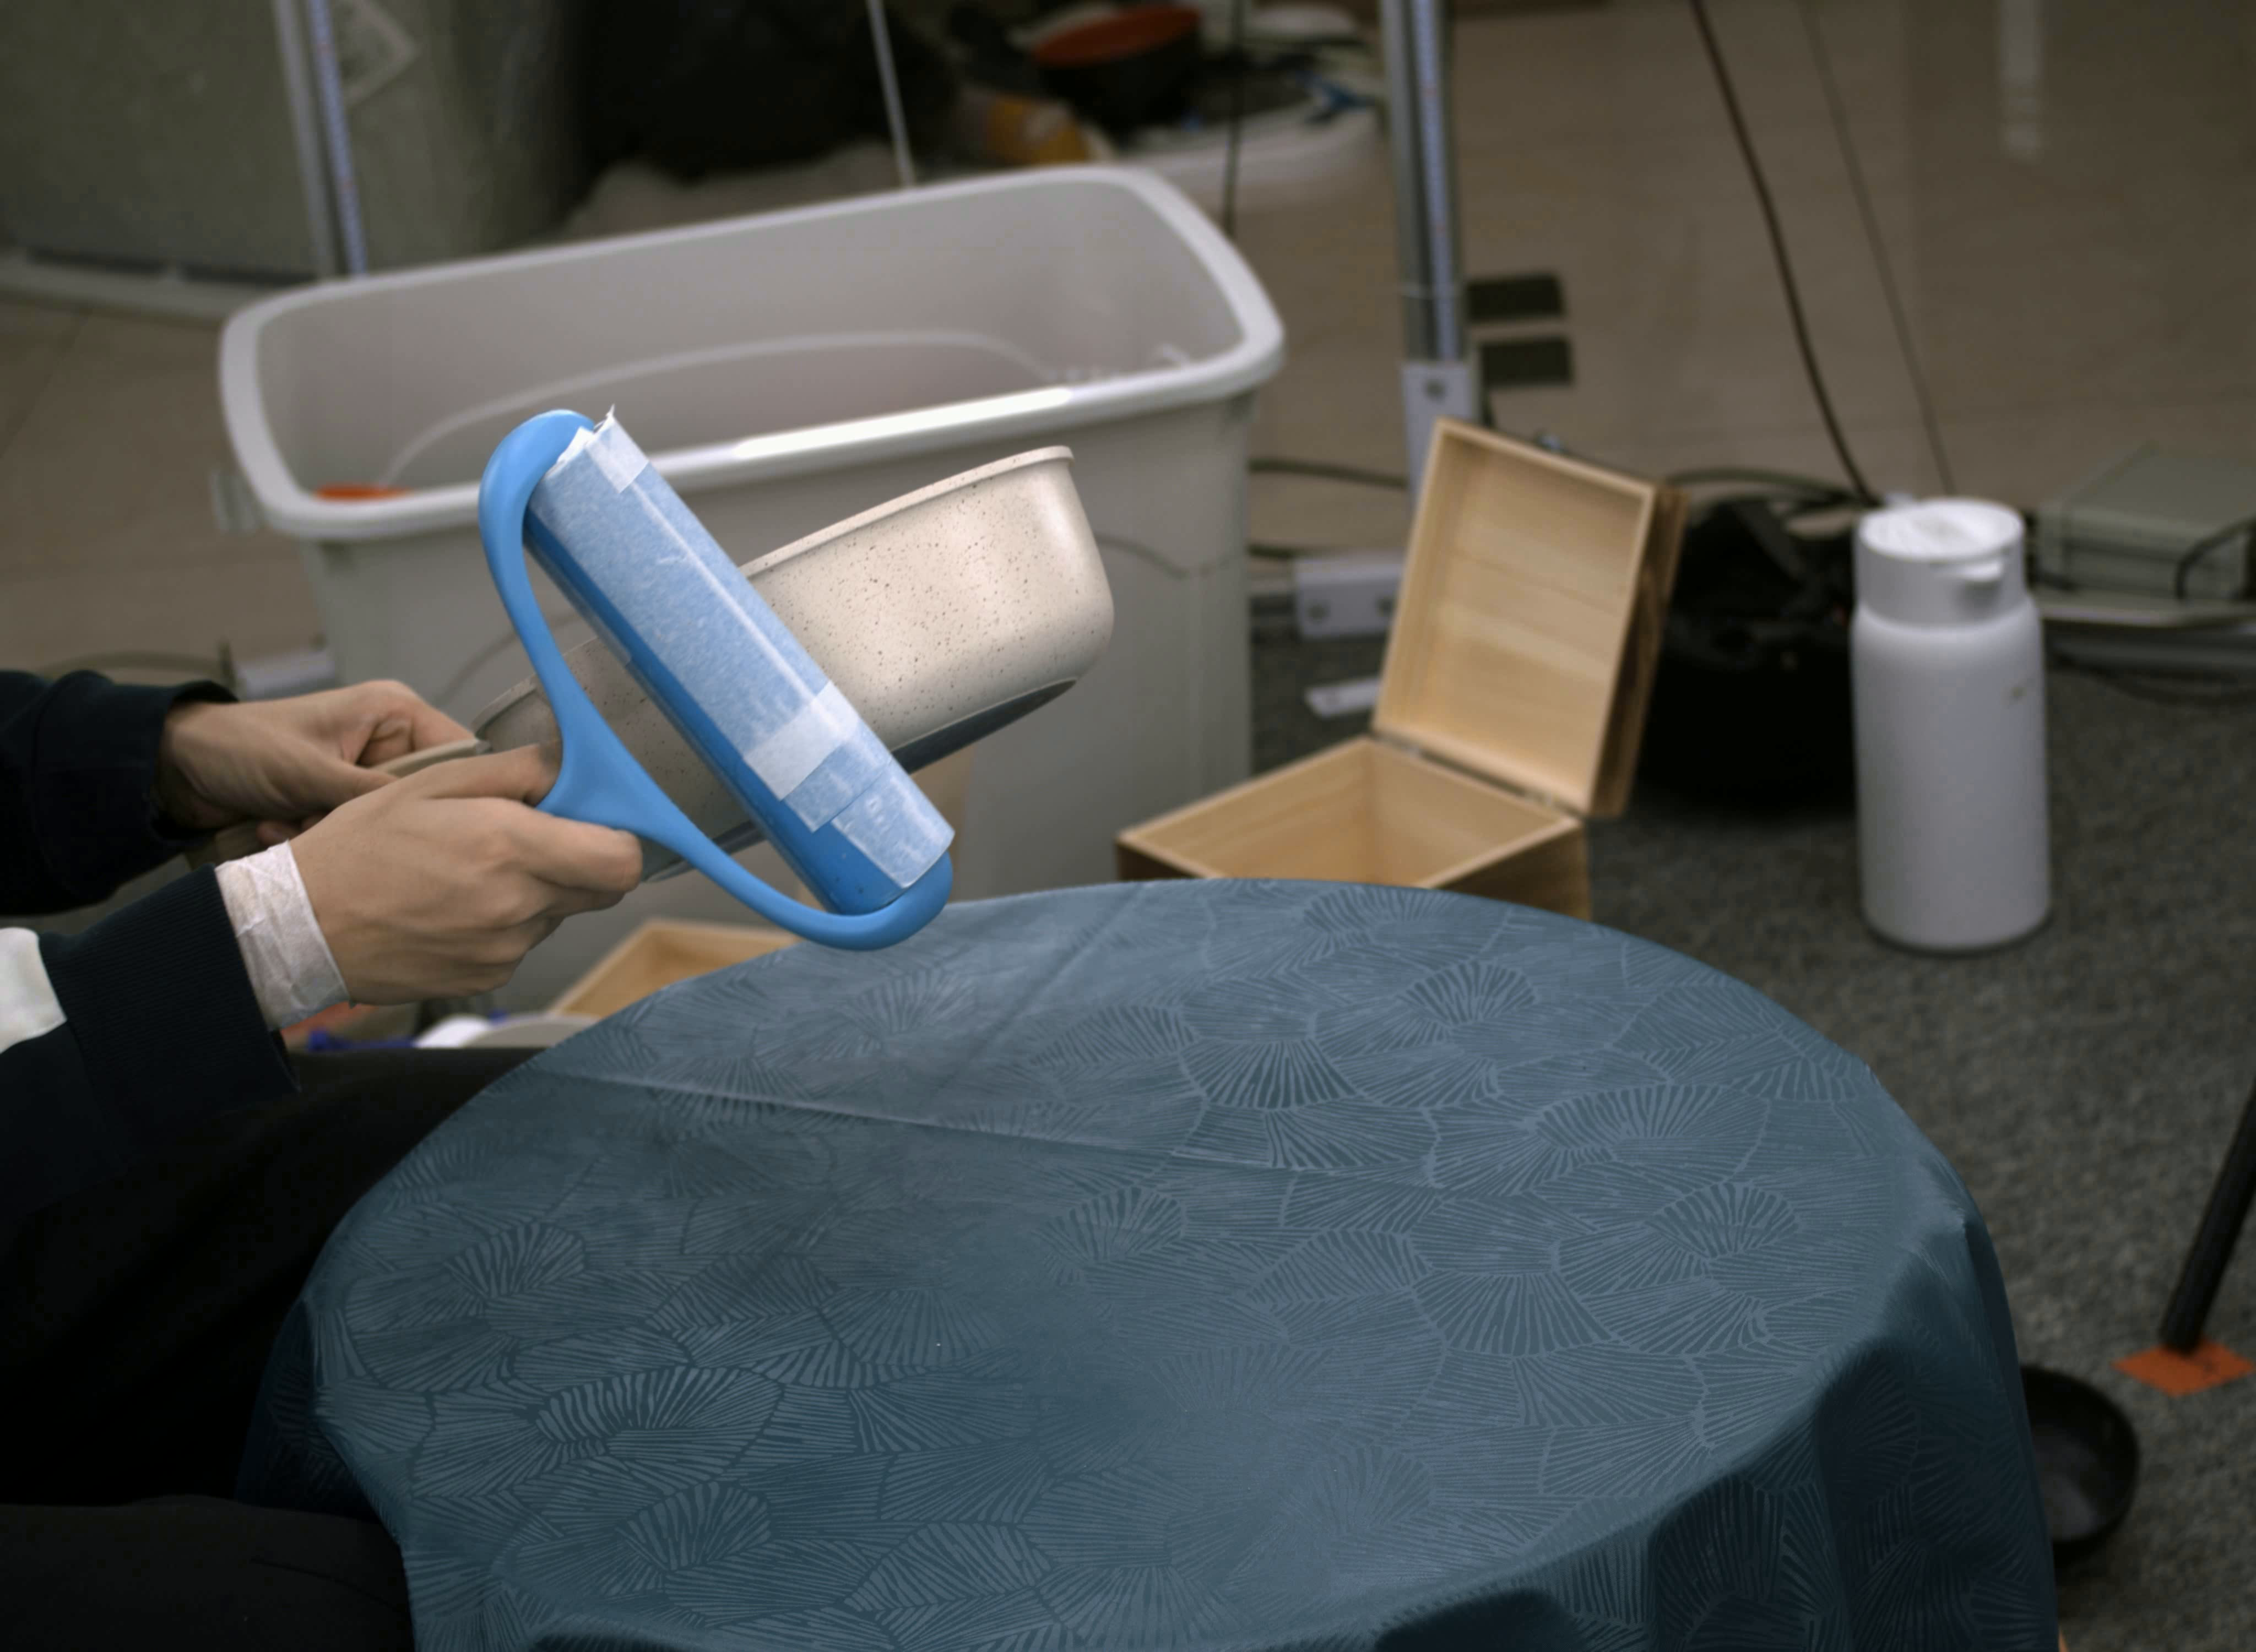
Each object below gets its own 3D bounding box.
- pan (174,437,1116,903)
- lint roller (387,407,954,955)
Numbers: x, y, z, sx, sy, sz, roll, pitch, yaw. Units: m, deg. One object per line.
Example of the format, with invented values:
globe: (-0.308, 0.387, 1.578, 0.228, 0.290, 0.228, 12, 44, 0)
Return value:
pan: (-0.192, -0.026, 2.190, 0.437, 0.102, 0.261, -26, -1, 30)
lint roller: (-0.186, -0.014, 1.990, 0.180, 0.230, 0.067, -43, 13, -2)
